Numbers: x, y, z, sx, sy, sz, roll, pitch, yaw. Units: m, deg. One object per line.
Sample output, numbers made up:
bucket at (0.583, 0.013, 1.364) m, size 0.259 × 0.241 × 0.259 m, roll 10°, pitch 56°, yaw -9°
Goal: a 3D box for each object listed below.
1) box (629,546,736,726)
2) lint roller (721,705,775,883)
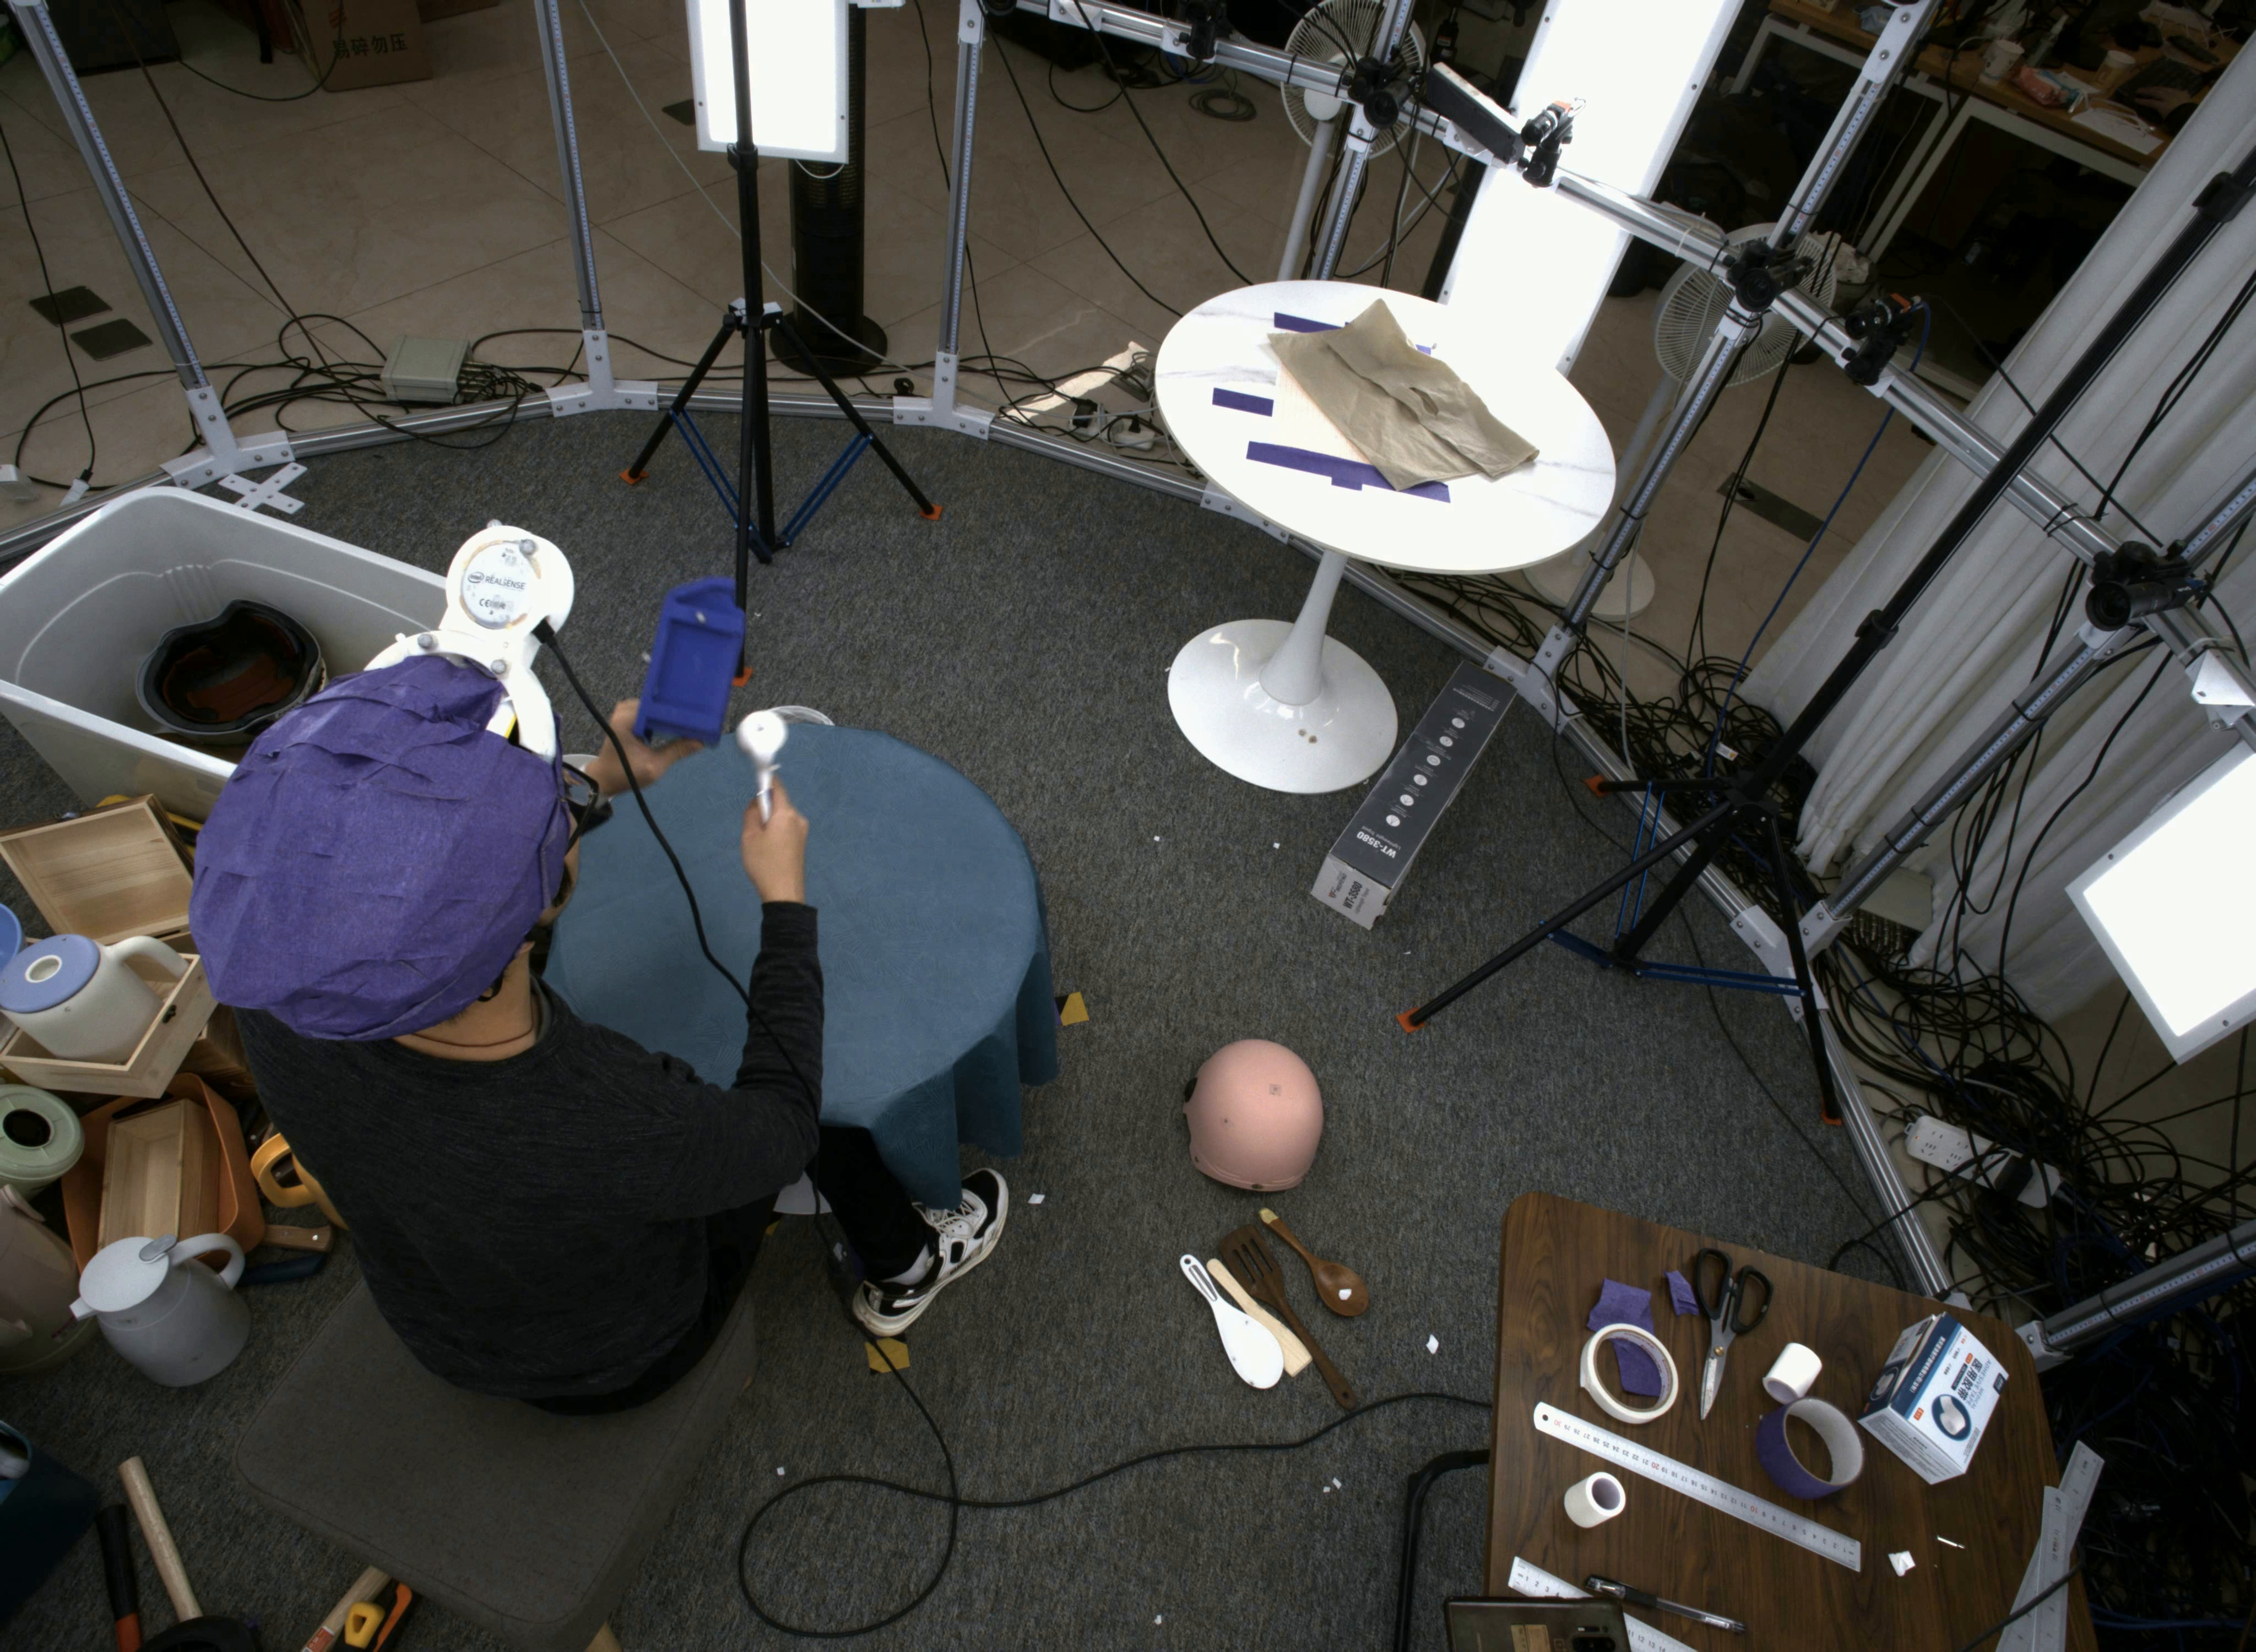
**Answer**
box at (-0.461, -0.194, 1.337) m, size 0.082 × 0.122 × 0.181 m, roll 9°, pitch 88°, yaw -15°
lint roller at (-0.386, -0.035, 1.365) m, size 0.050 × 0.130 × 0.183 m, roll -19°, pitch 95°, yaw -20°
